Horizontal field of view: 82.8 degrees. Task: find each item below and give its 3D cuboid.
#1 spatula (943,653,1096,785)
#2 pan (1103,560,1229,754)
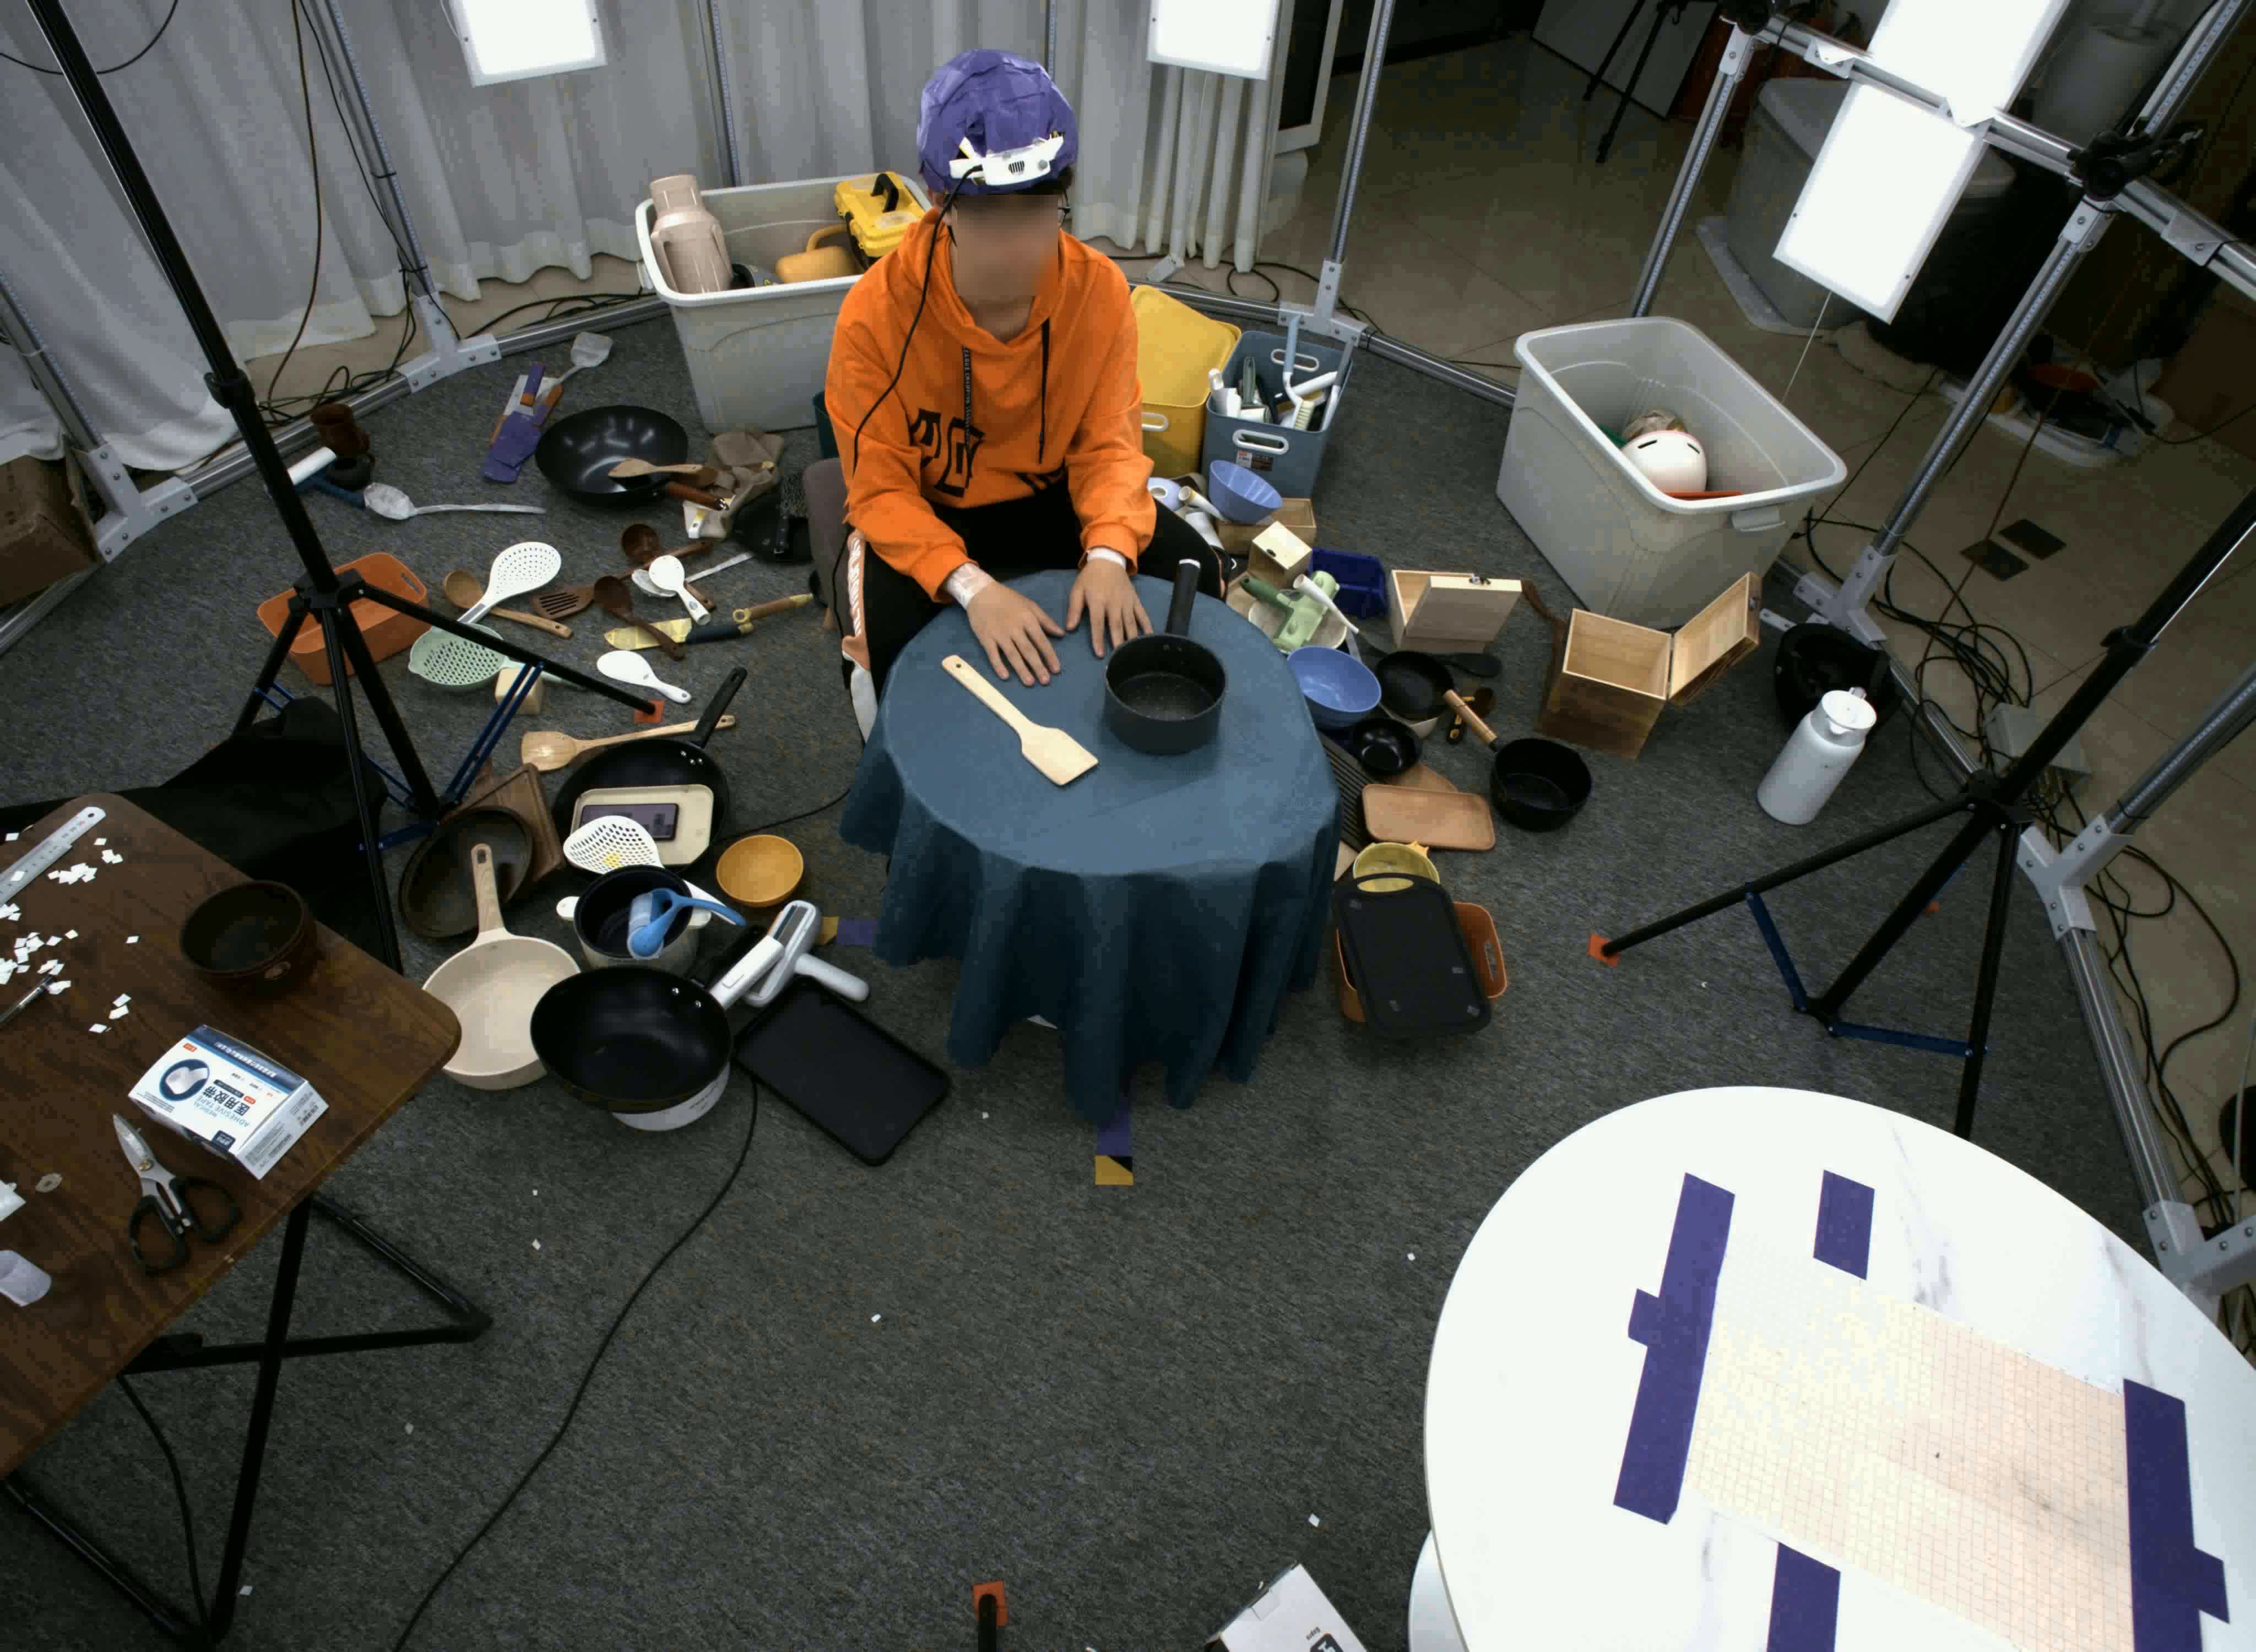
[{"bbox_3d":[-0.164,-0.156,1.787,0.073,0.010,0.298,-34,59,-25],"label":"spatula"},{"bbox_3d":[0.067,-0.245,1.831,0.172,0.084,0.336,12,51,5],"label":"pan"}]
